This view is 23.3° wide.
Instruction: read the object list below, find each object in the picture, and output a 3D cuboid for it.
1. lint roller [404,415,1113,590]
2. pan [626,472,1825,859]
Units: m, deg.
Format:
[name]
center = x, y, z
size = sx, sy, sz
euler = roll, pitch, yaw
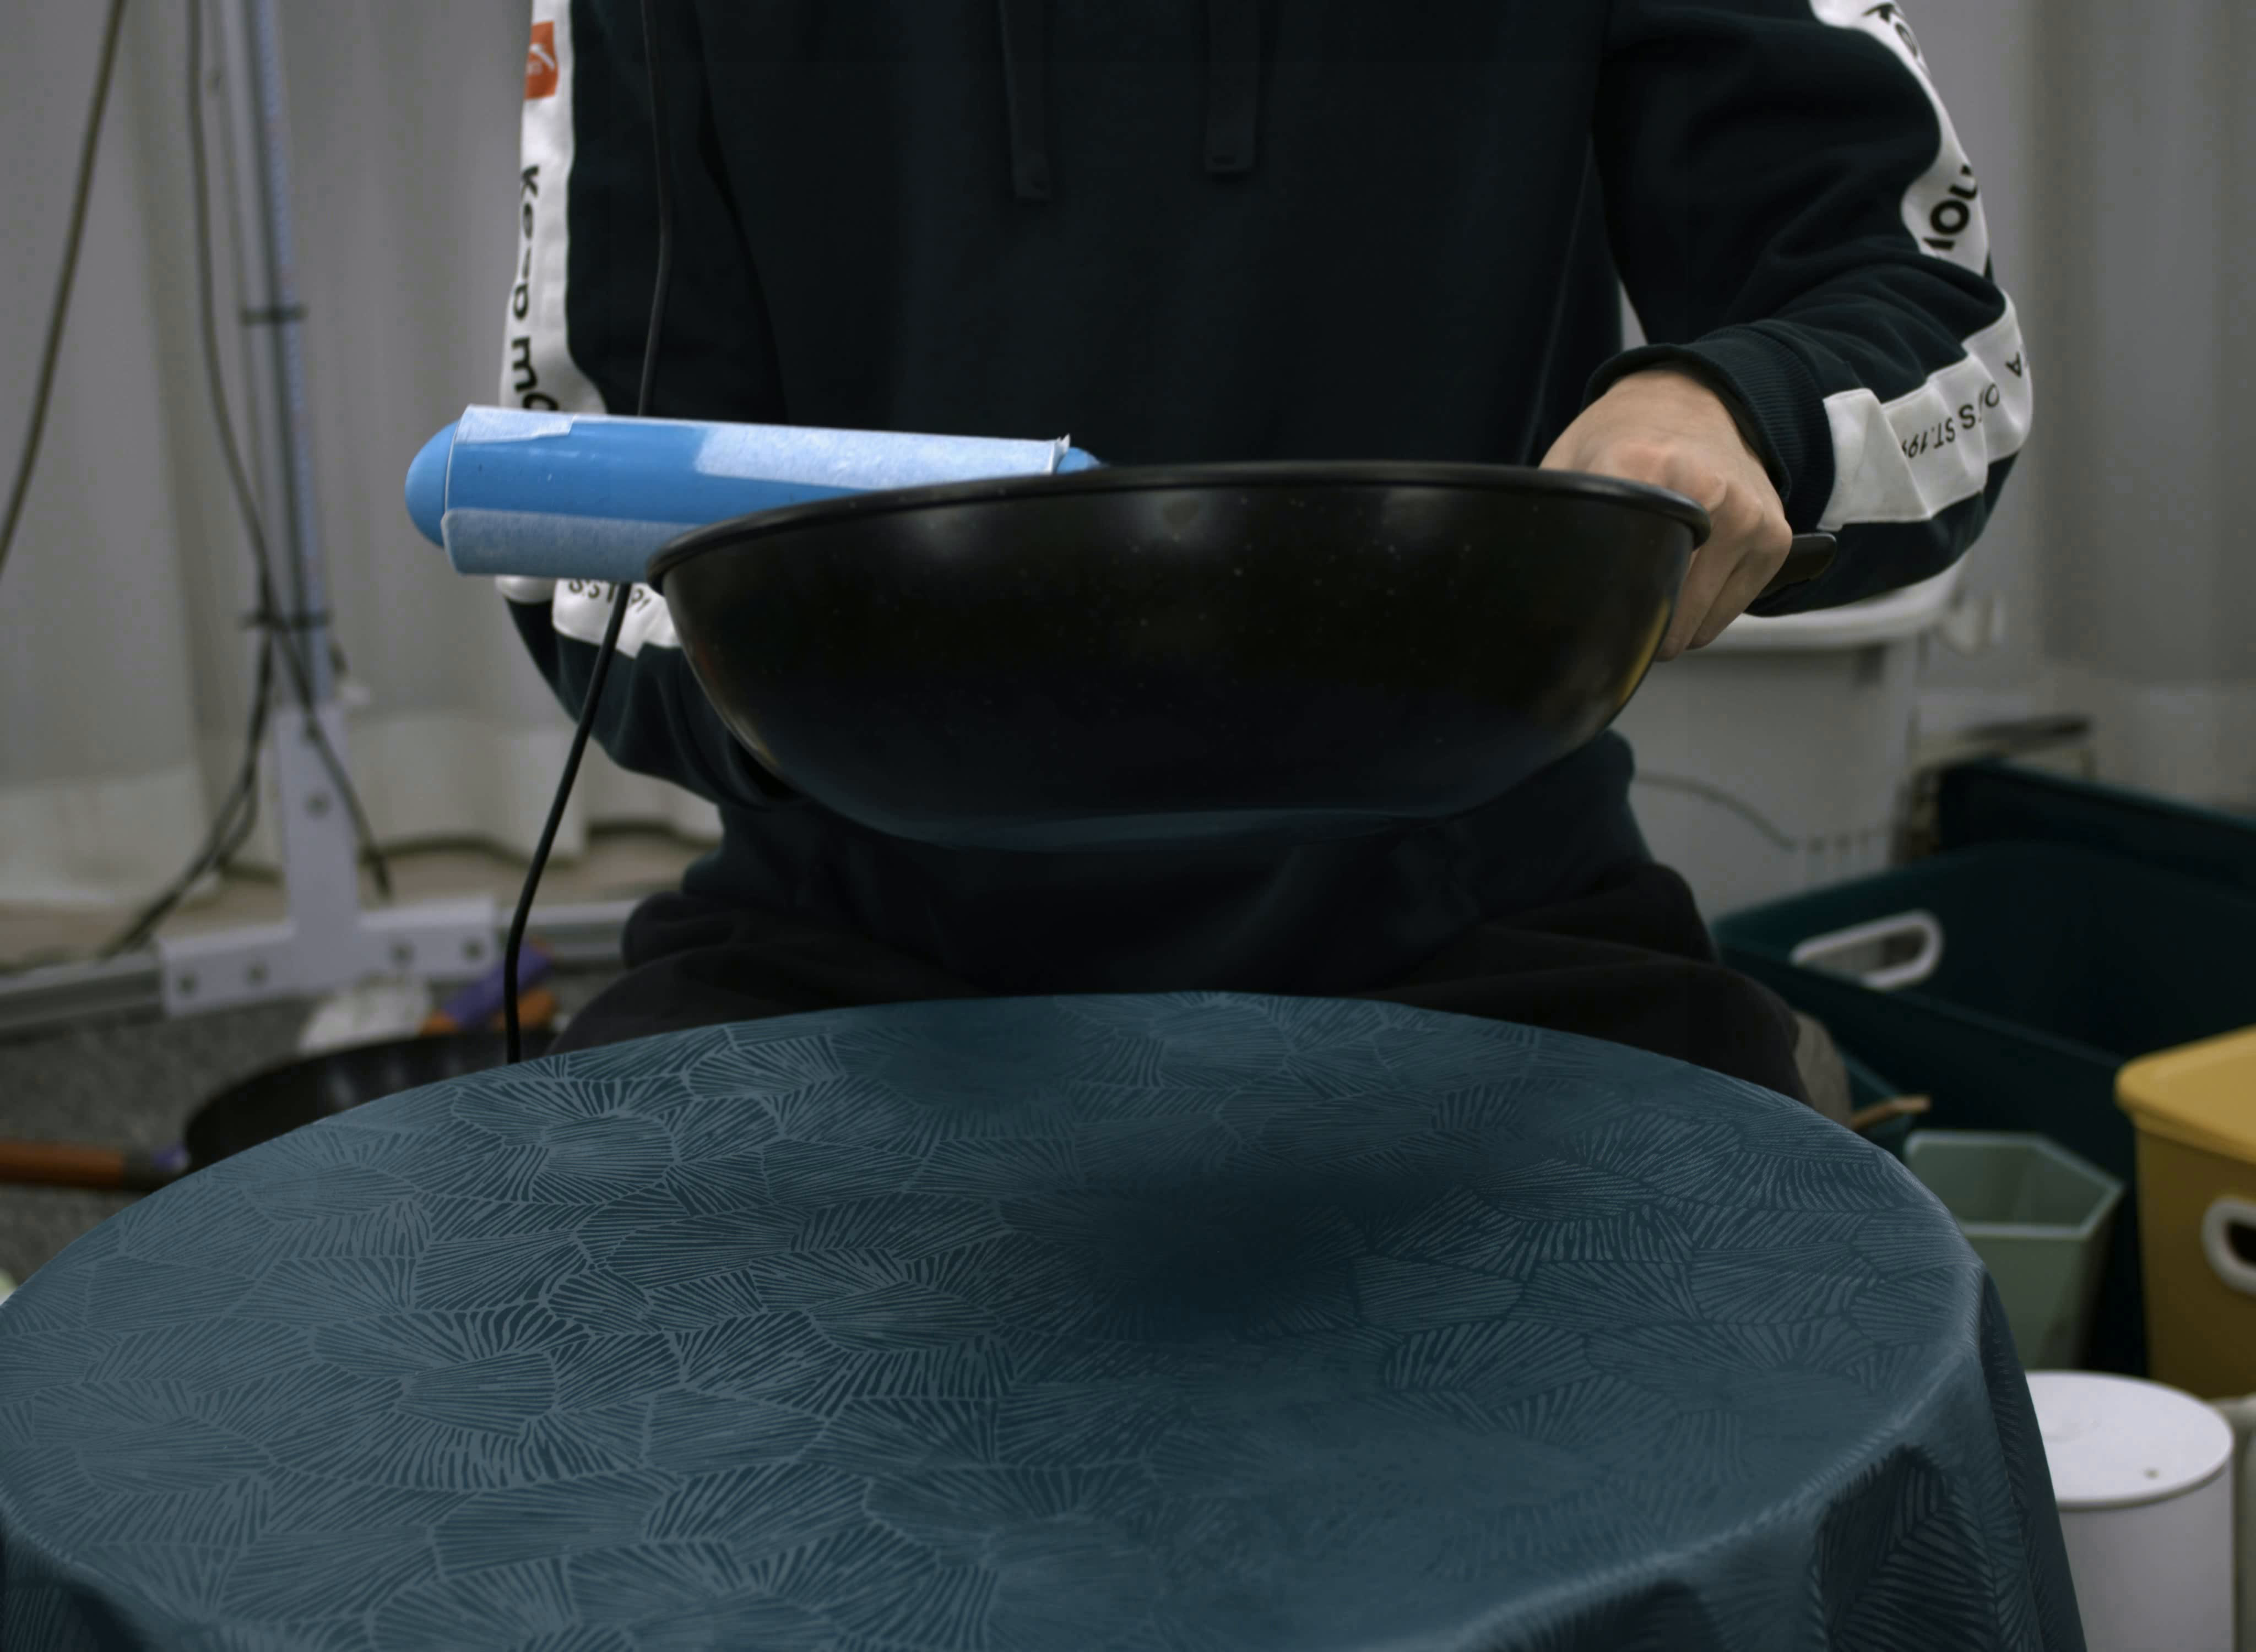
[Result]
[lint roller]
center = -0.116, -0.087, 1.806
size = 0.228, 0.068, 0.179
euler = 2, -14, 2
[pan]
center = 0.066, -0.047, 1.640
size = 0.310, 0.112, 0.473
euler = -5, -6, 41
